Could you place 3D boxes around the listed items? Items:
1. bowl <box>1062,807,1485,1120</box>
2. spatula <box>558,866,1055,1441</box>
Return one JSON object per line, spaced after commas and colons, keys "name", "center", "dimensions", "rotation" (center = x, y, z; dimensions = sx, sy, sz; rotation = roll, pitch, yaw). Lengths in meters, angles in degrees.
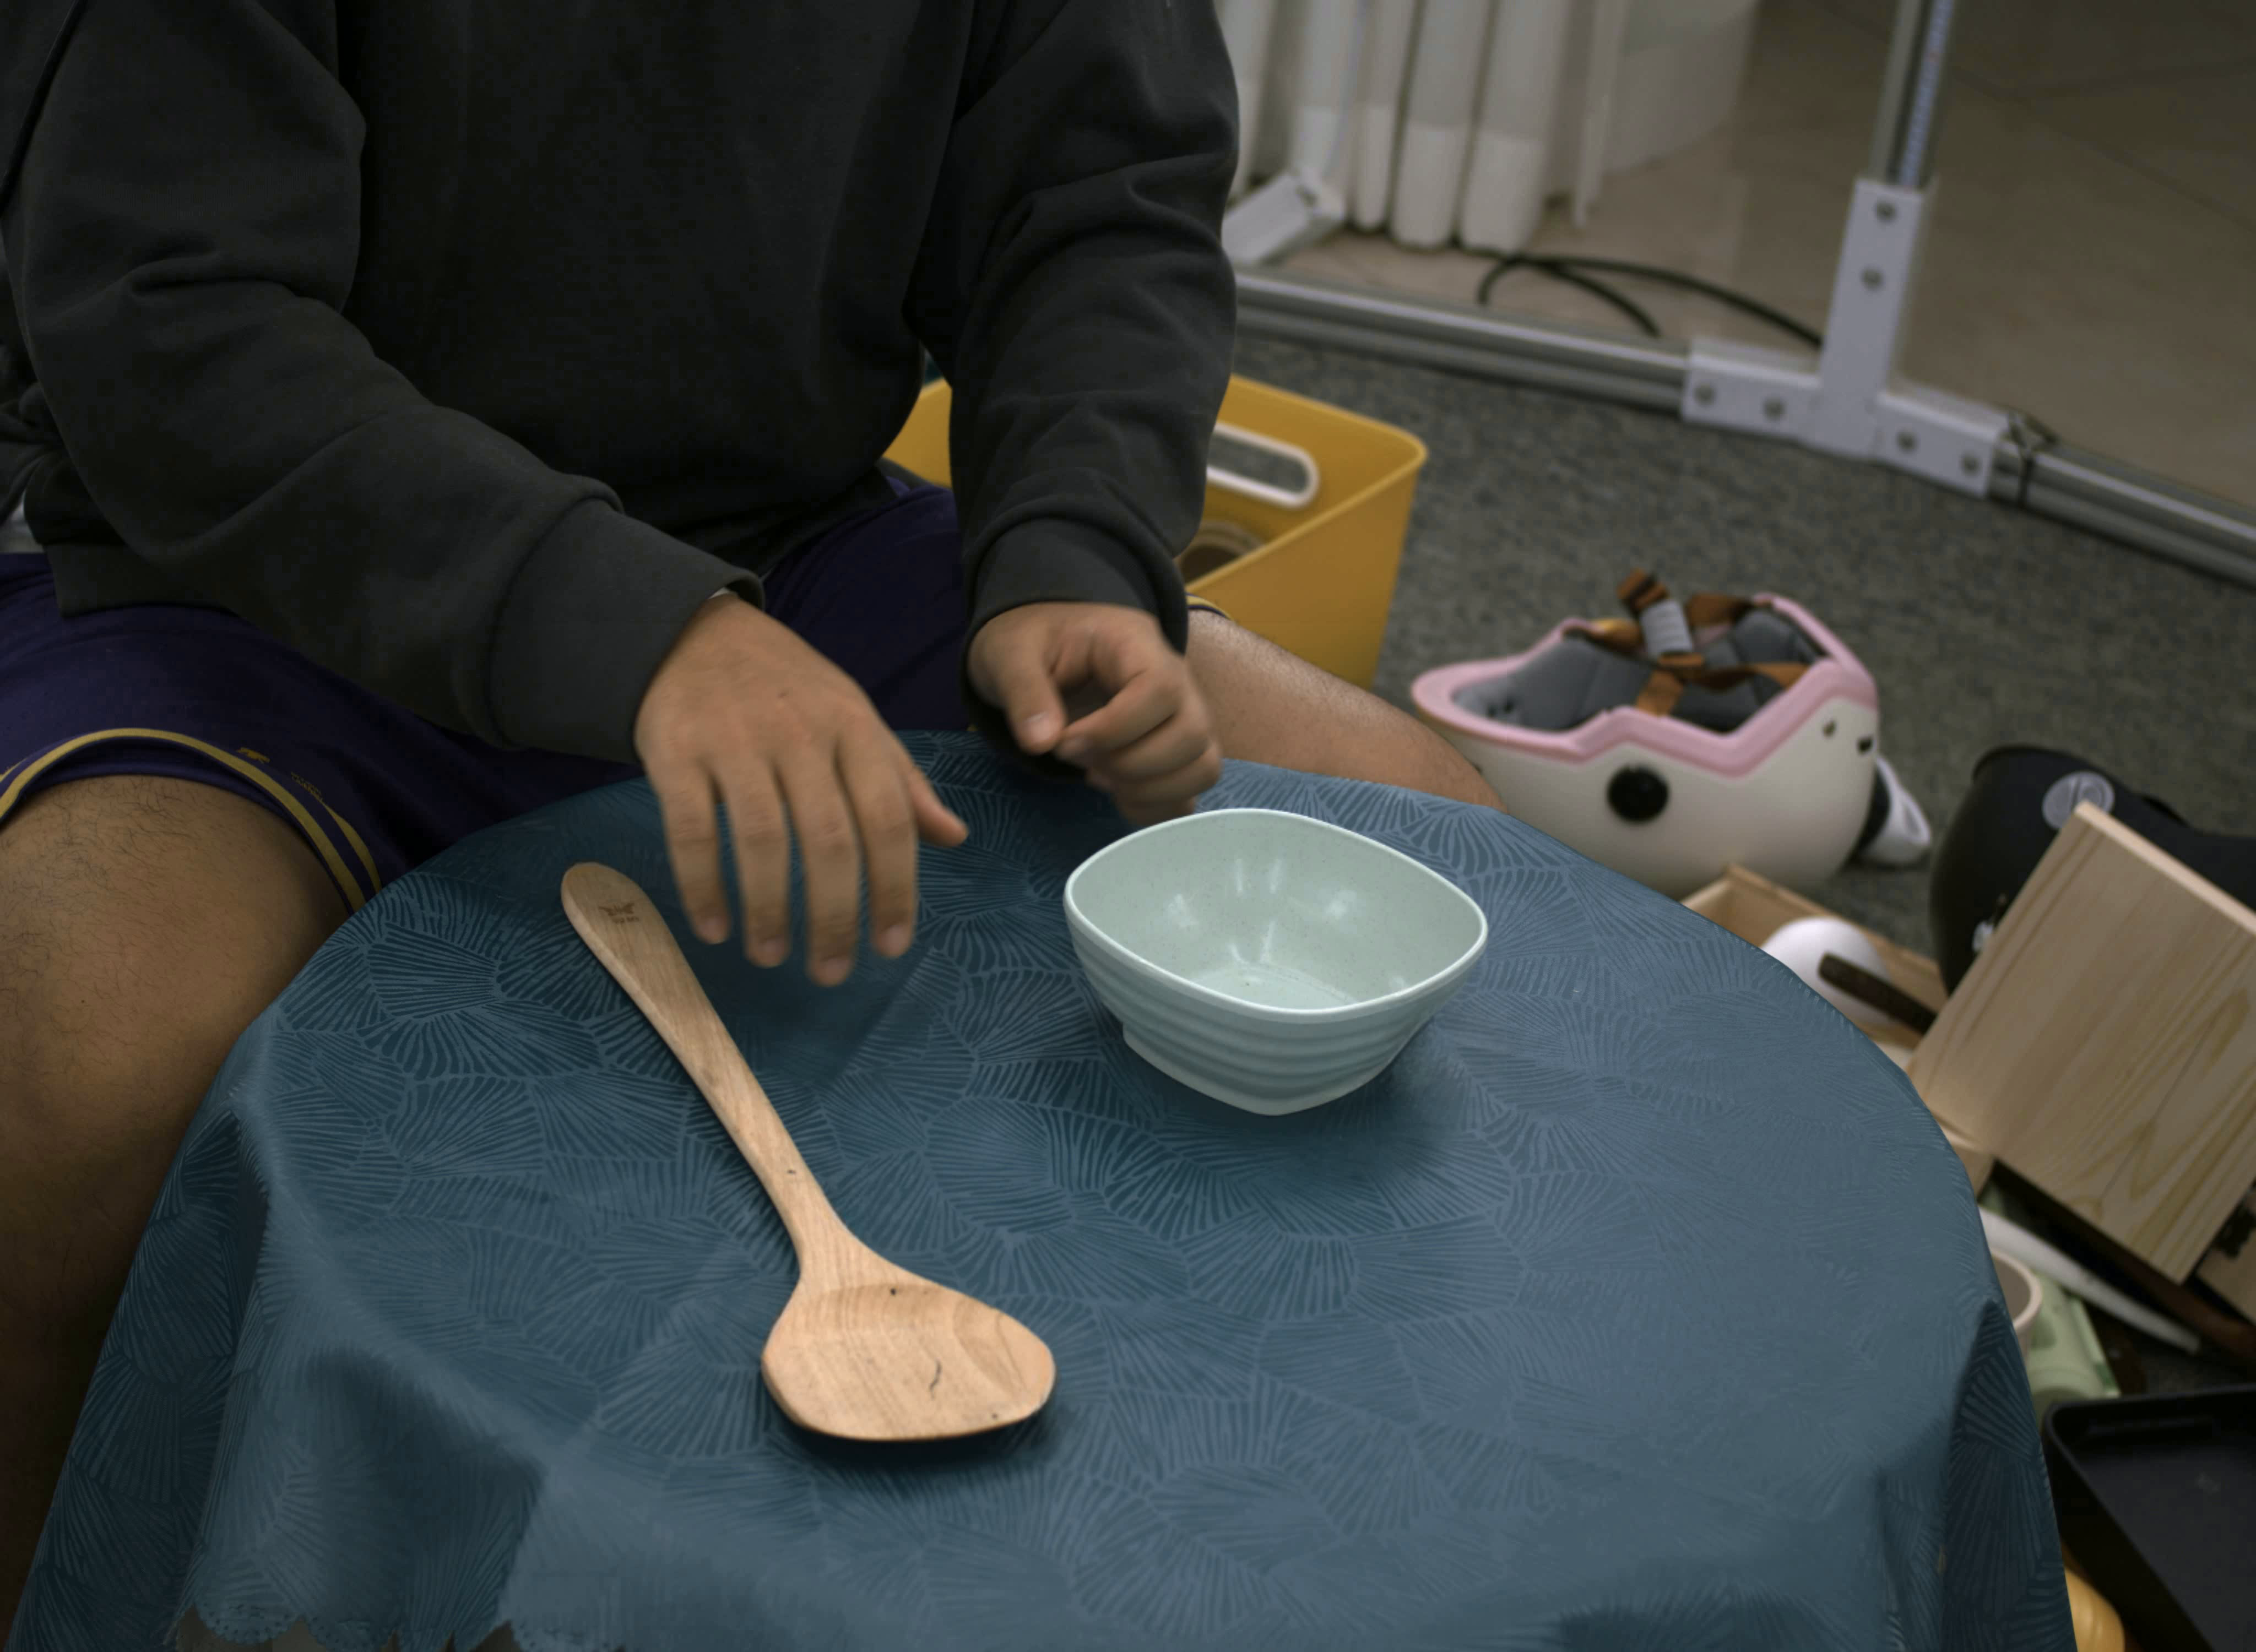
{"name": "bowl", "center": [0.048, 0.054, 1.889], "dimensions": [0.151, 0.058, 0.152], "rotation": [6, 28, -4]}
{"name": "spatula", "center": [-0.131, 0.103, 1.793], "dimensions": [0.095, 0.018, 0.394], "rotation": [-3, 29, -23]}
